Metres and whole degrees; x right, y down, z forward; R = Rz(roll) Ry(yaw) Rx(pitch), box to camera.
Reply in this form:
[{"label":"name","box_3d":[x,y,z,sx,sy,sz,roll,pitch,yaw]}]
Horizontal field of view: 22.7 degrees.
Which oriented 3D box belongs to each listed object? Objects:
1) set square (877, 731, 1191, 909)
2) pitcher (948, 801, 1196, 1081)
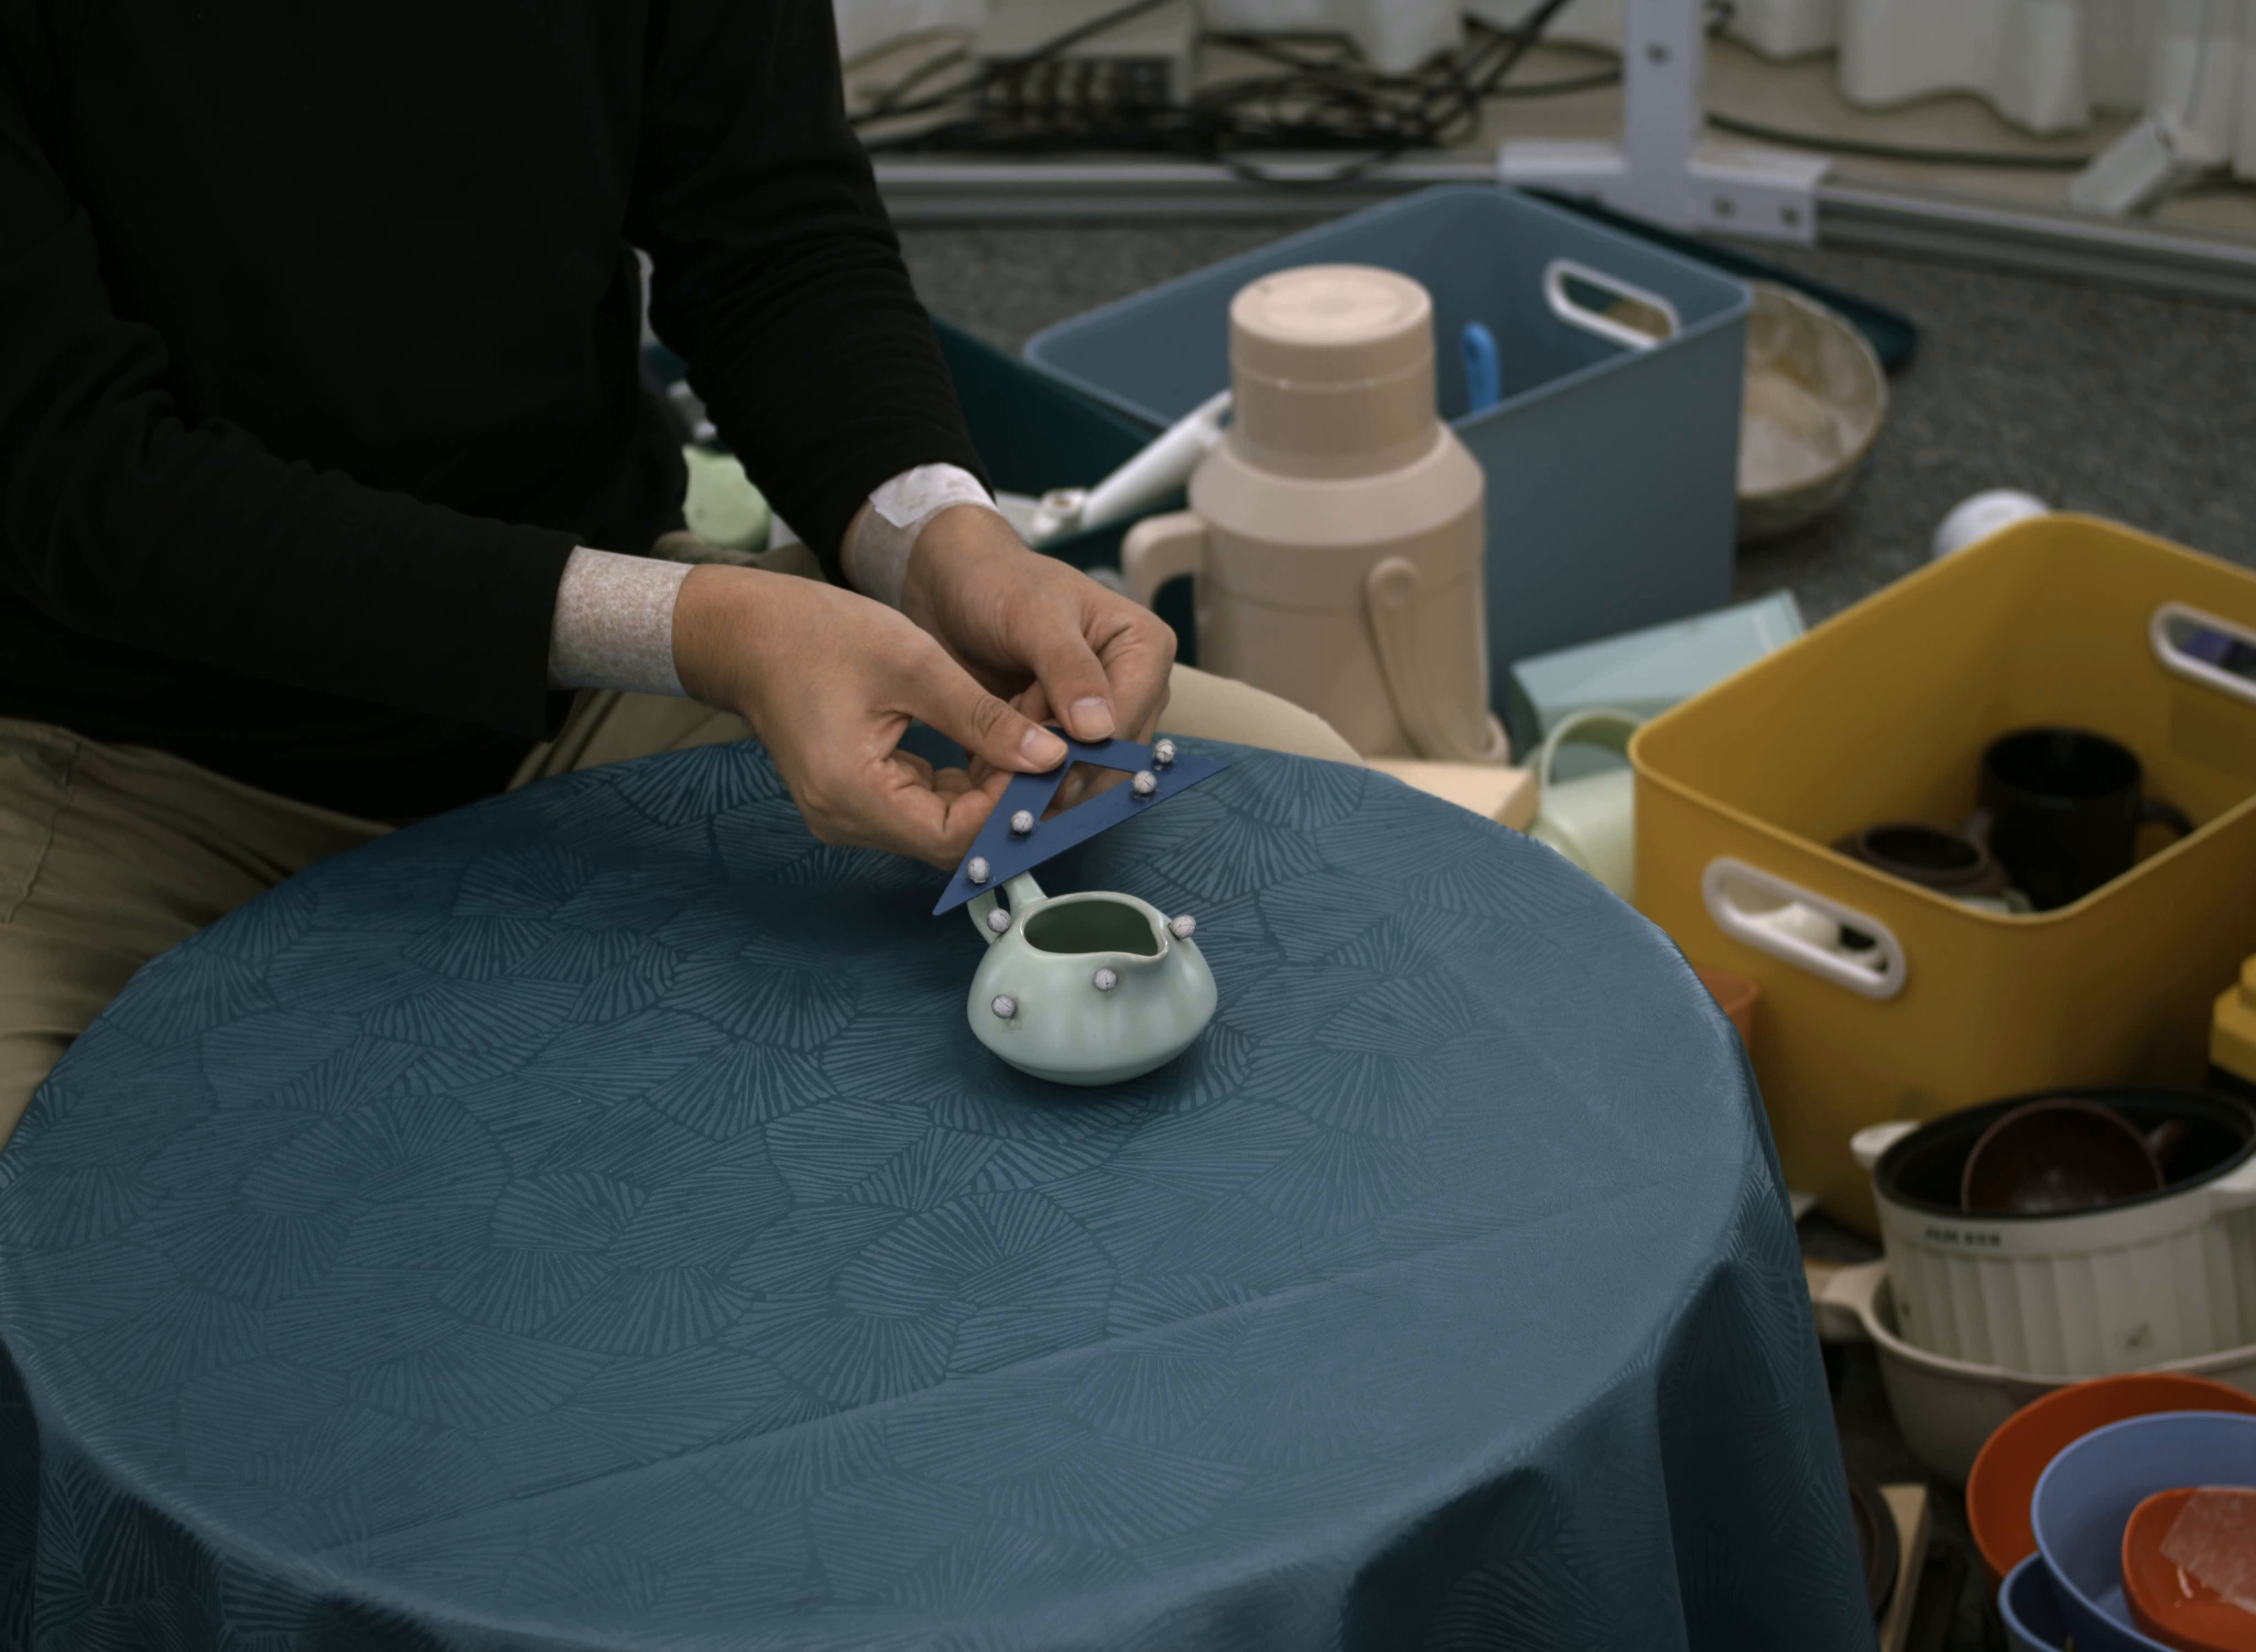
[{"label":"set square","box_3d":[-0.045,-0.008,1.977,0.133,0.006,0.061,-25,43,-31]},{"label":"pitcher","box_3d":[-0.025,0.040,1.947,0.086,0.059,0.109,-21,48,-13]}]
